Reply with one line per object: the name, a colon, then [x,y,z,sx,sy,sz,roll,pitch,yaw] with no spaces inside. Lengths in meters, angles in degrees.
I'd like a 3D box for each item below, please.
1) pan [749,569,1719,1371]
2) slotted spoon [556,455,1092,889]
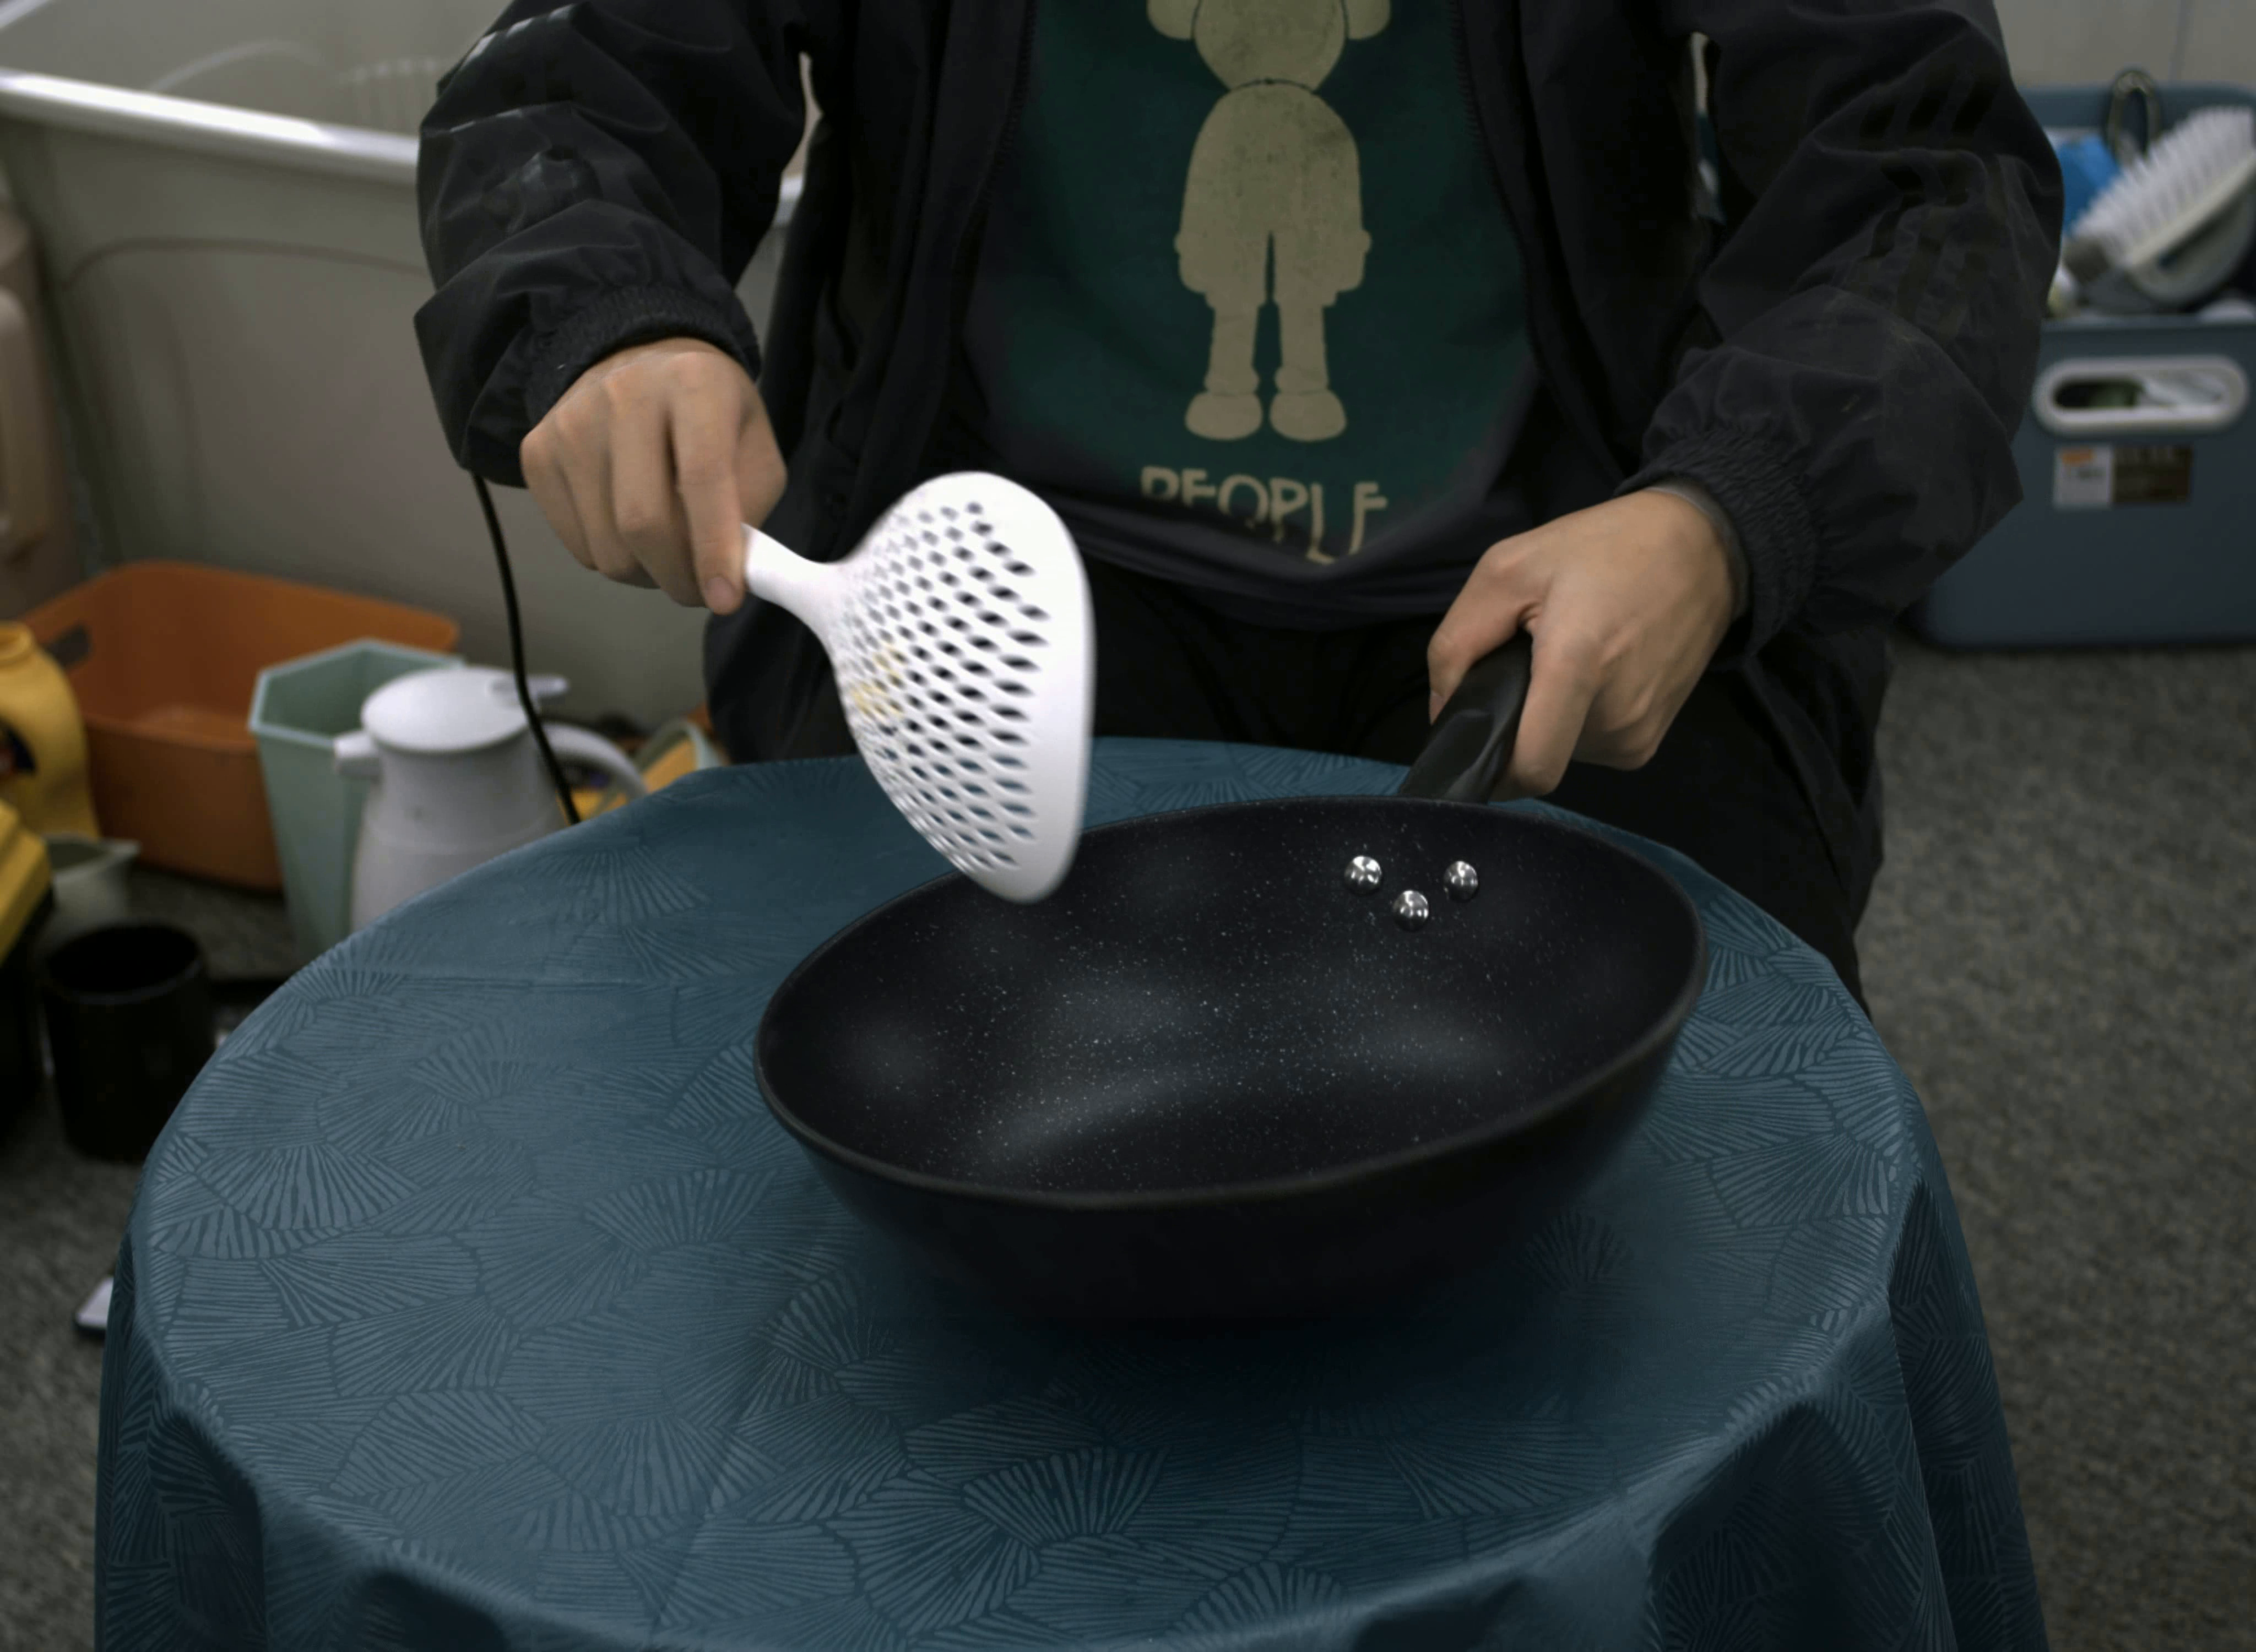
pan: [0.071,0.051,1.868,0.308,0.111,0.484,5,25,25]
slotted spoon: [-0.107,-0.074,1.869,0.050,0.136,0.348,-5,17,-25]
